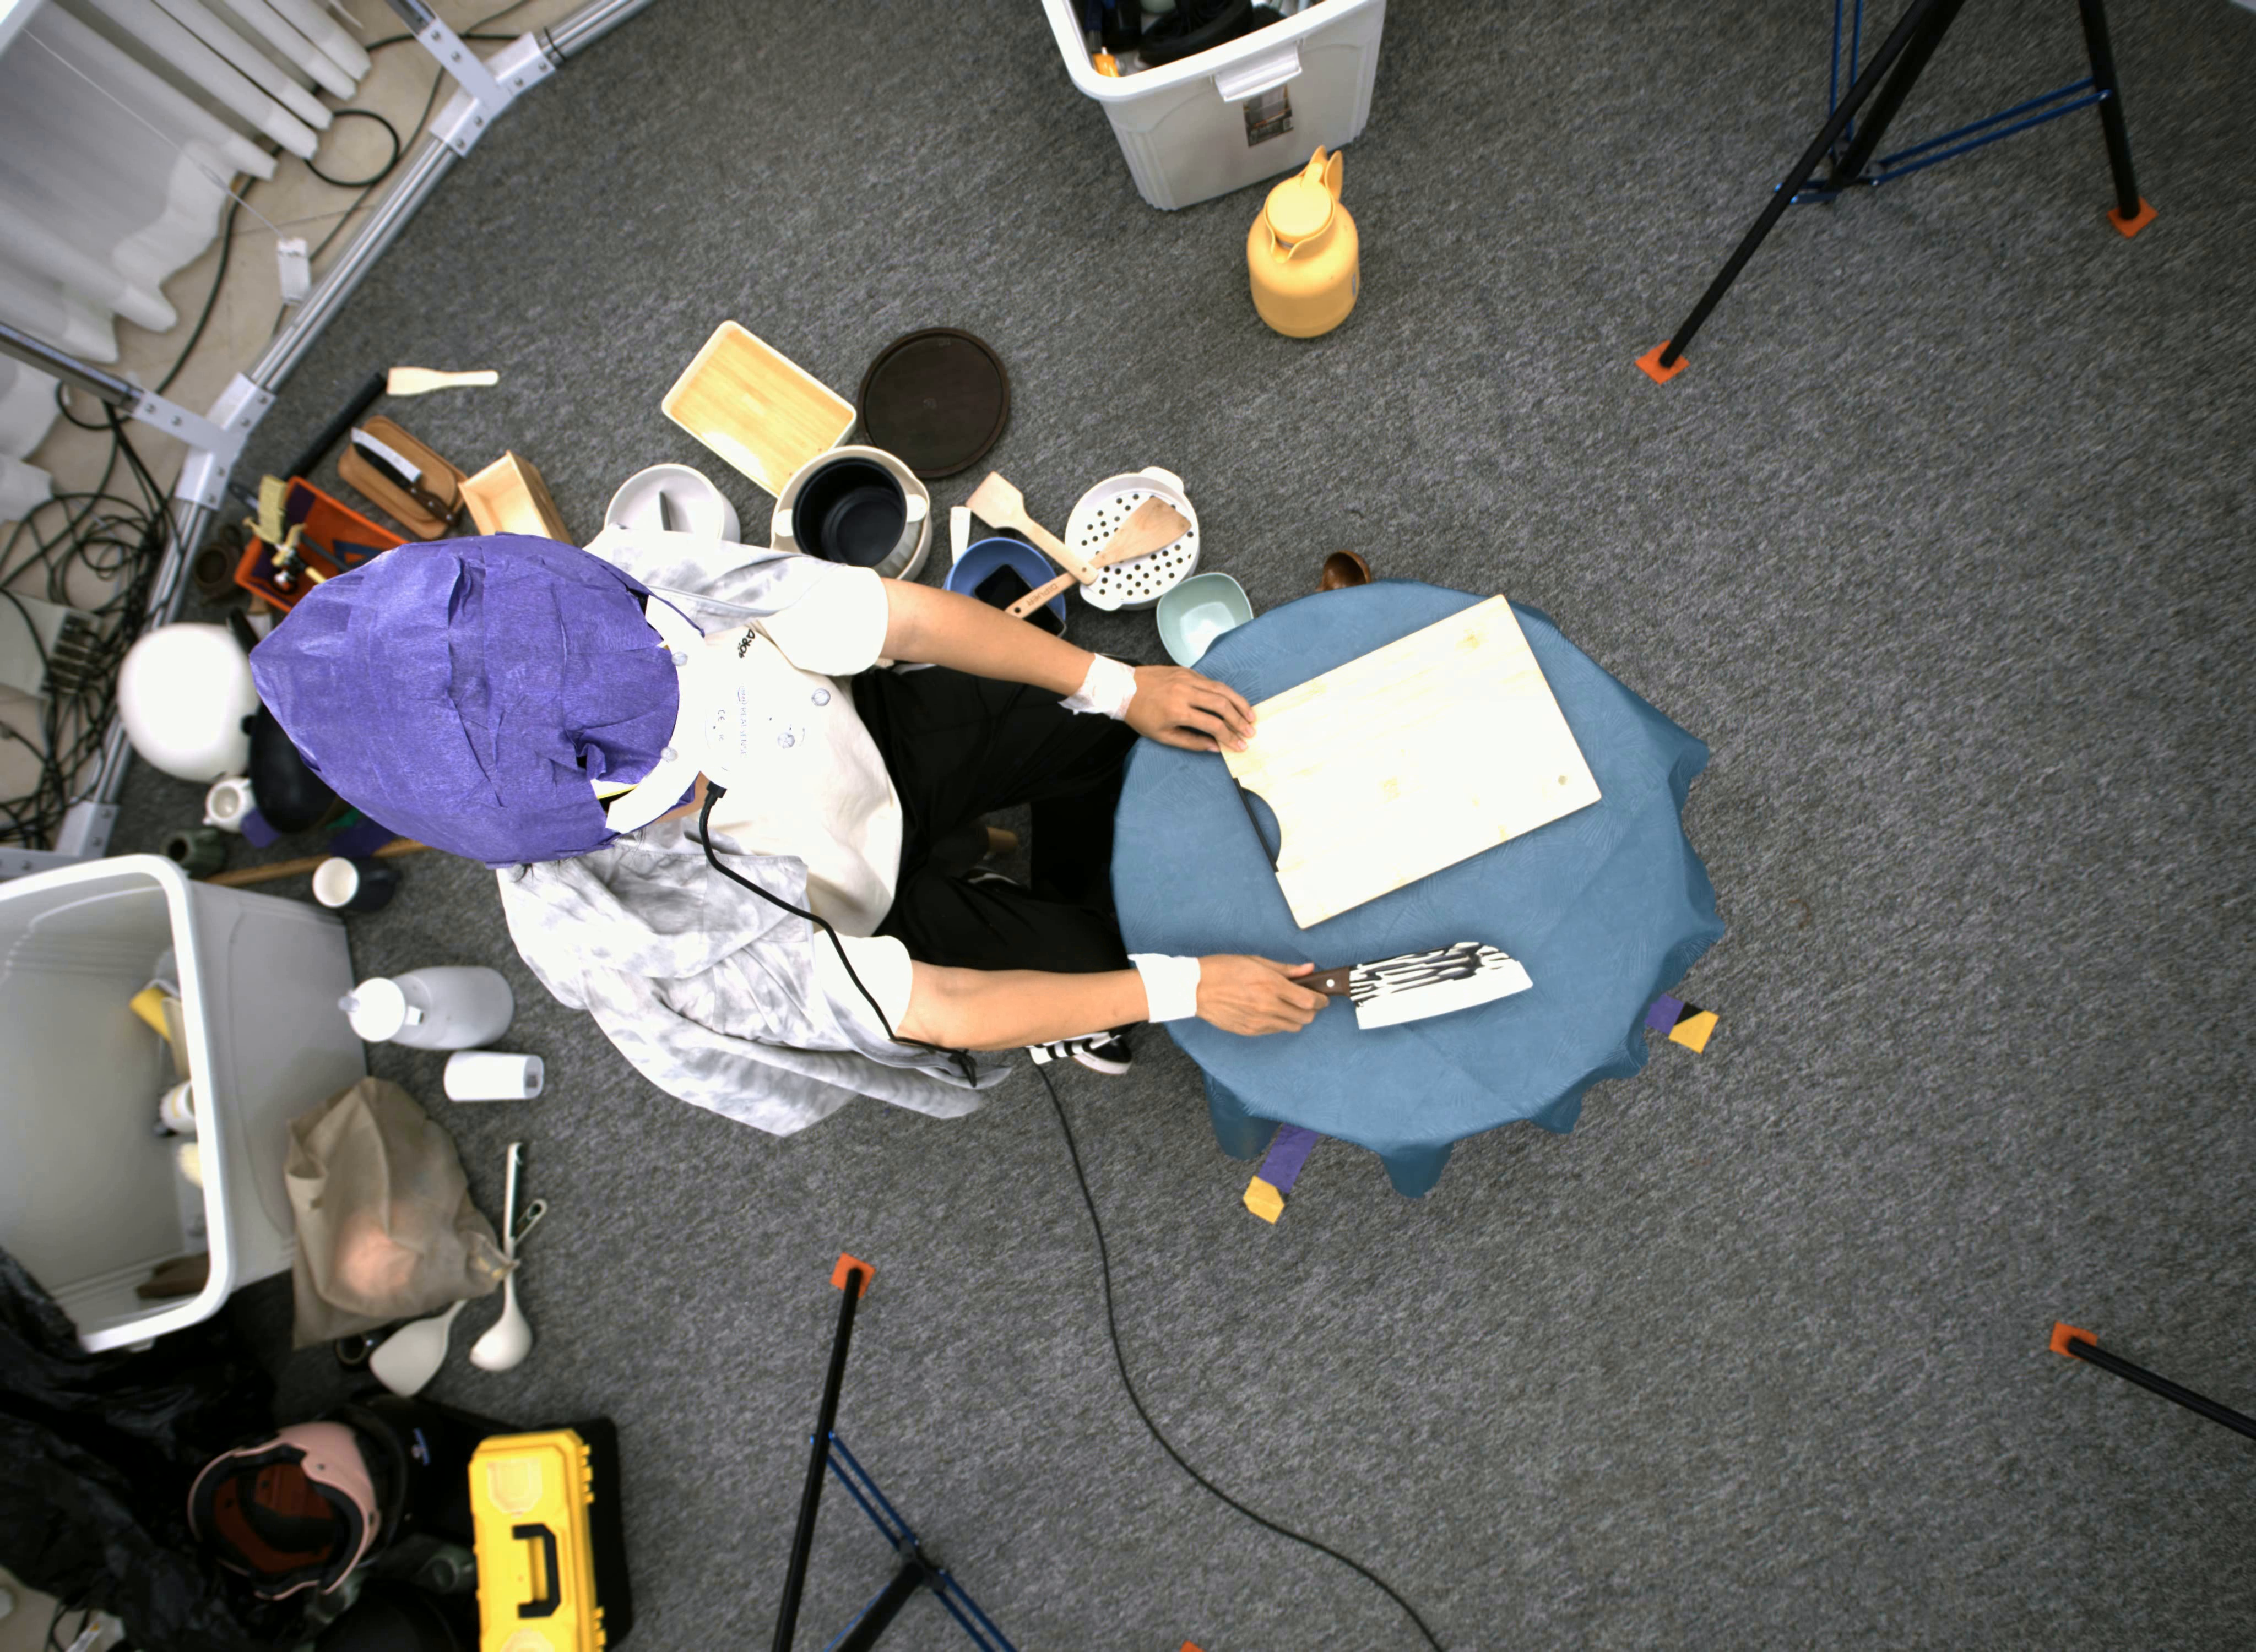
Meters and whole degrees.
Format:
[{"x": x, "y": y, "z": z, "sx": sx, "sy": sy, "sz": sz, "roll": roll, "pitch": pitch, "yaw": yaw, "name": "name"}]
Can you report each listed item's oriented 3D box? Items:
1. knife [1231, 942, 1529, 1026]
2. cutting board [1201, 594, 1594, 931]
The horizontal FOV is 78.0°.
[{"x": 0.256, "y": 0.166, "z": 1.413, "sx": 0.301, "sy": 0.024, "sz": 0.068, "roll": -12, "pitch": 92, "yaw": 11, "name": "knife"}, {"x": 0.283, "y": -0.068, "z": 1.455, "sx": 0.351, "sy": 0.023, "sz": 0.249, "roll": -25, "pitch": 82, "yaw": 9, "name": "cutting board"}]
